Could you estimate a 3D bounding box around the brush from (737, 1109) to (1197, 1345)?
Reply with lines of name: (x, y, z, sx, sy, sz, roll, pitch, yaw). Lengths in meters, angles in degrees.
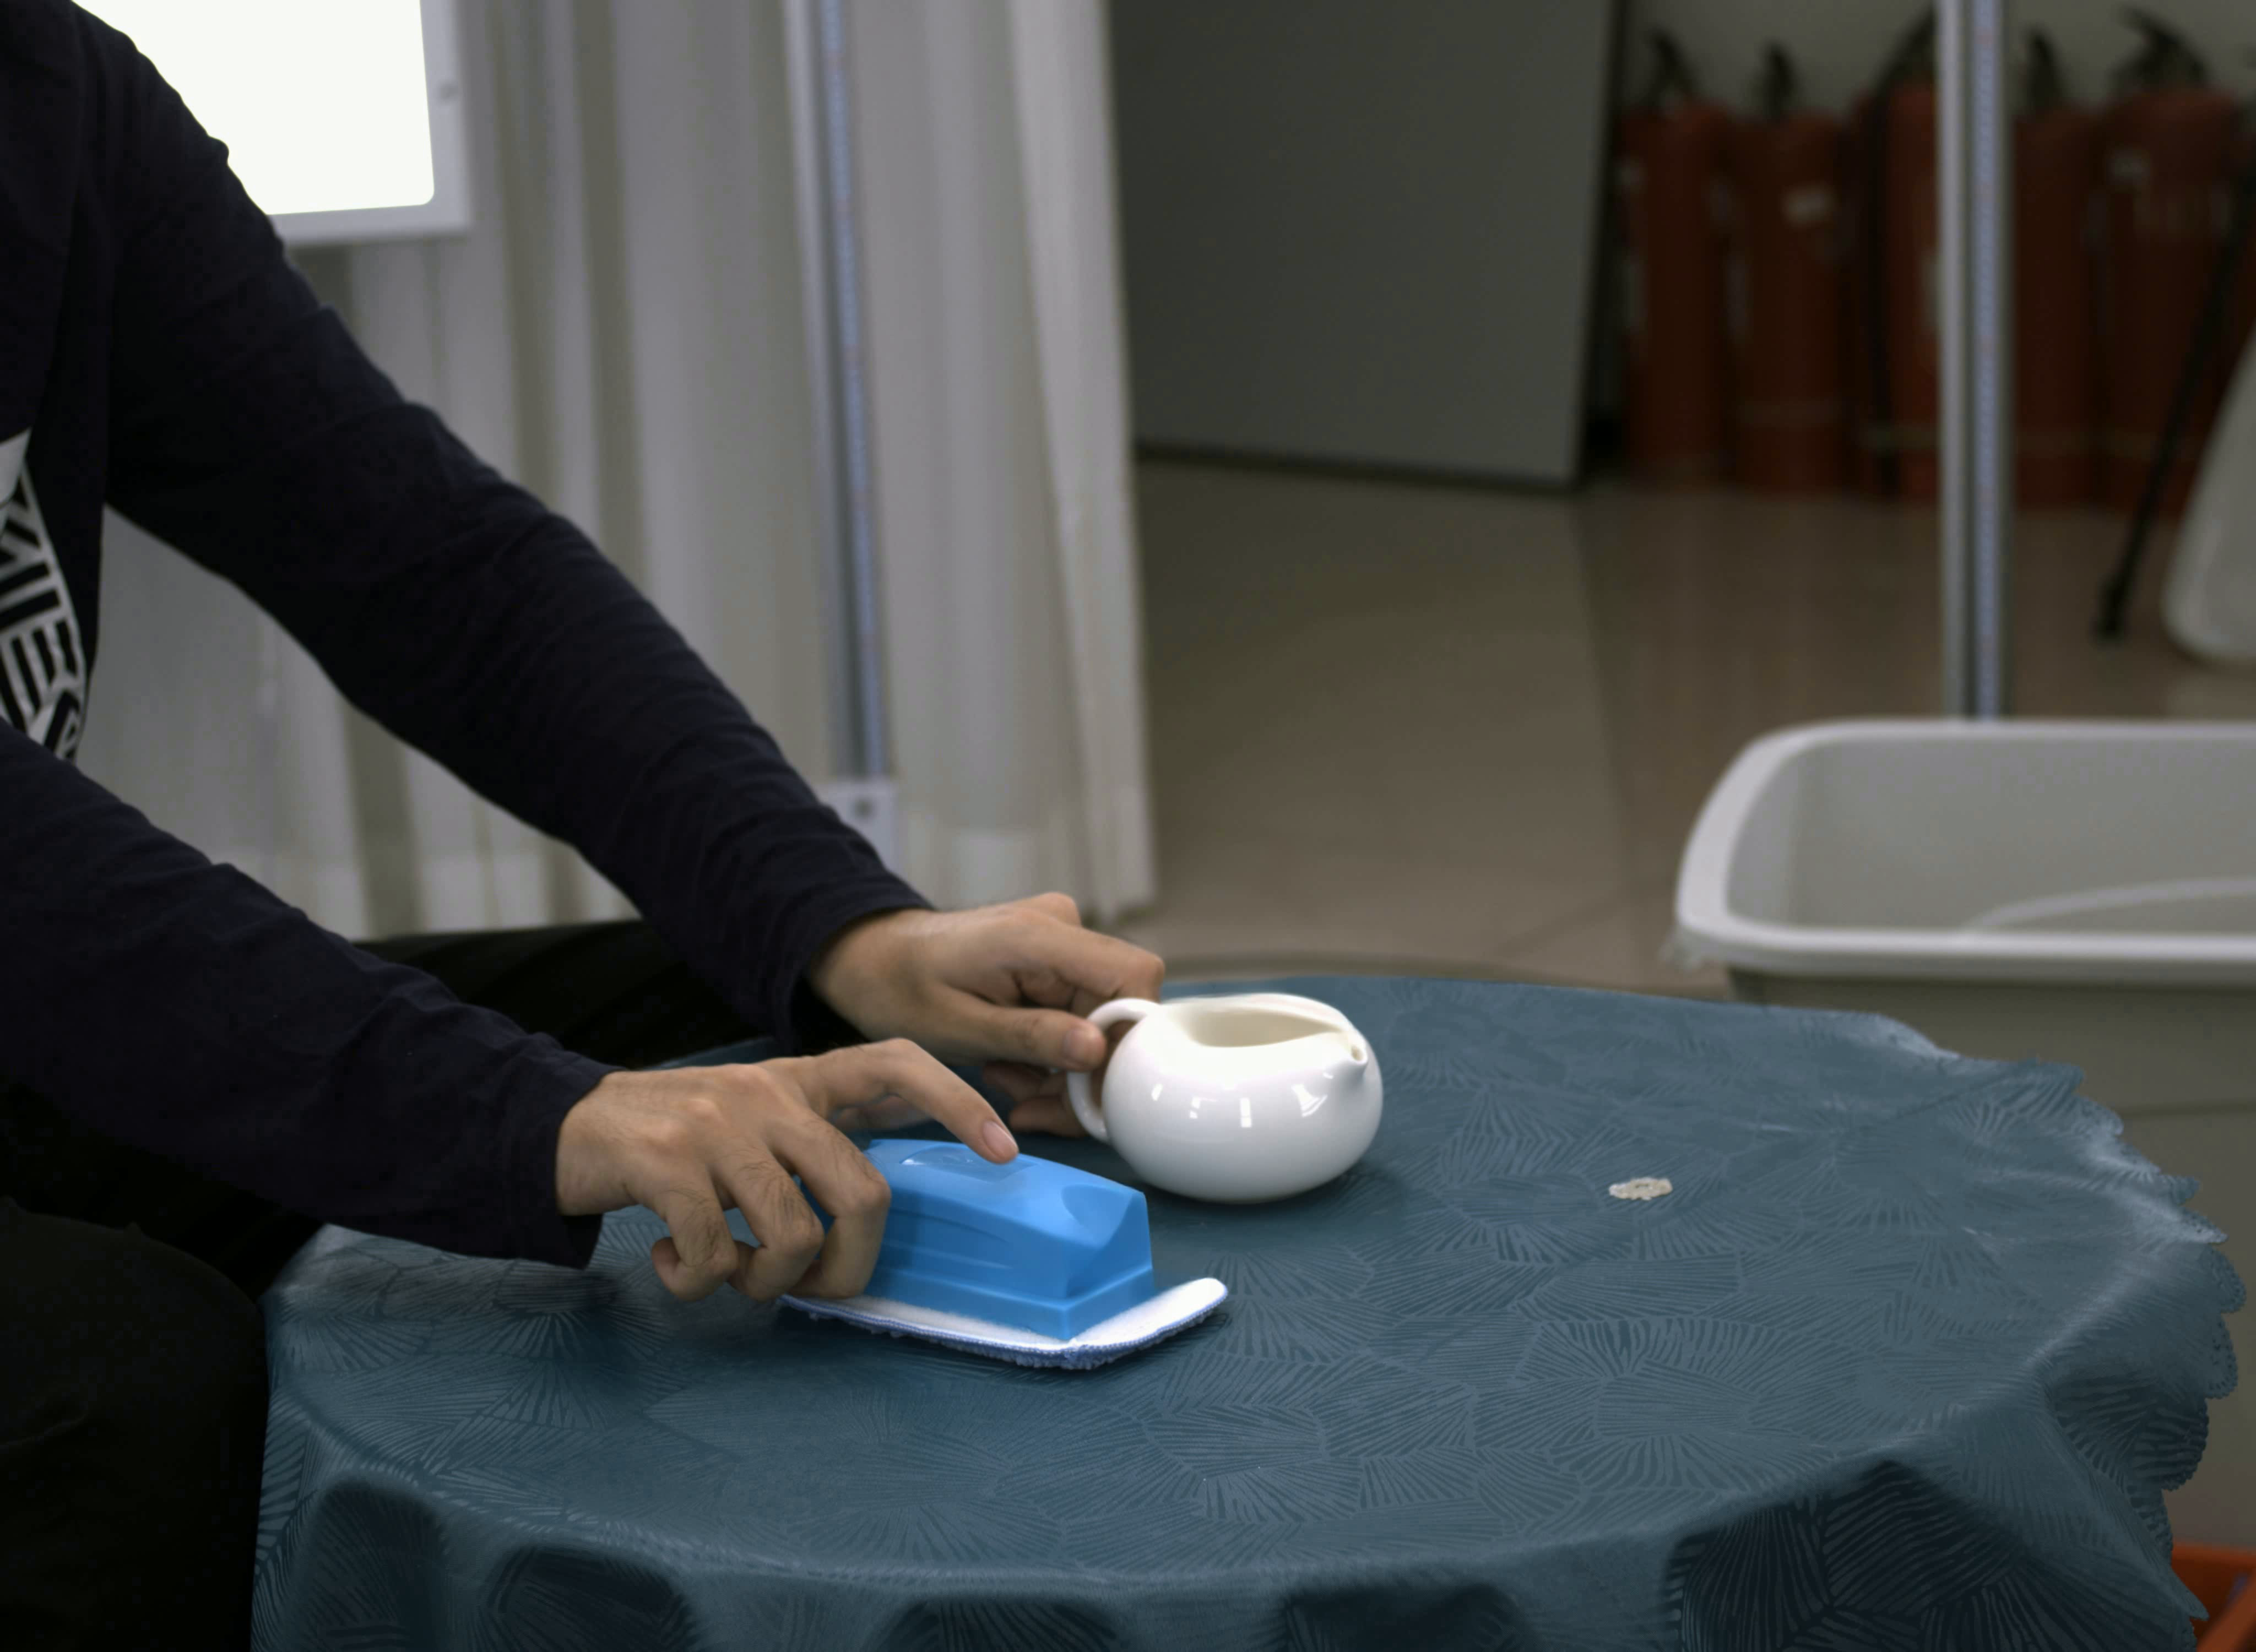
brush: (-0.050, 0.122, 1.662, 0.145, 0.056, 0.082, 12, 18, 42)

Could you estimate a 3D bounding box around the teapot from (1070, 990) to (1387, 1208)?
teapot: (0.030, 0.089, 1.779, 0.128, 0.057, 0.092, 7, 21, 35)
